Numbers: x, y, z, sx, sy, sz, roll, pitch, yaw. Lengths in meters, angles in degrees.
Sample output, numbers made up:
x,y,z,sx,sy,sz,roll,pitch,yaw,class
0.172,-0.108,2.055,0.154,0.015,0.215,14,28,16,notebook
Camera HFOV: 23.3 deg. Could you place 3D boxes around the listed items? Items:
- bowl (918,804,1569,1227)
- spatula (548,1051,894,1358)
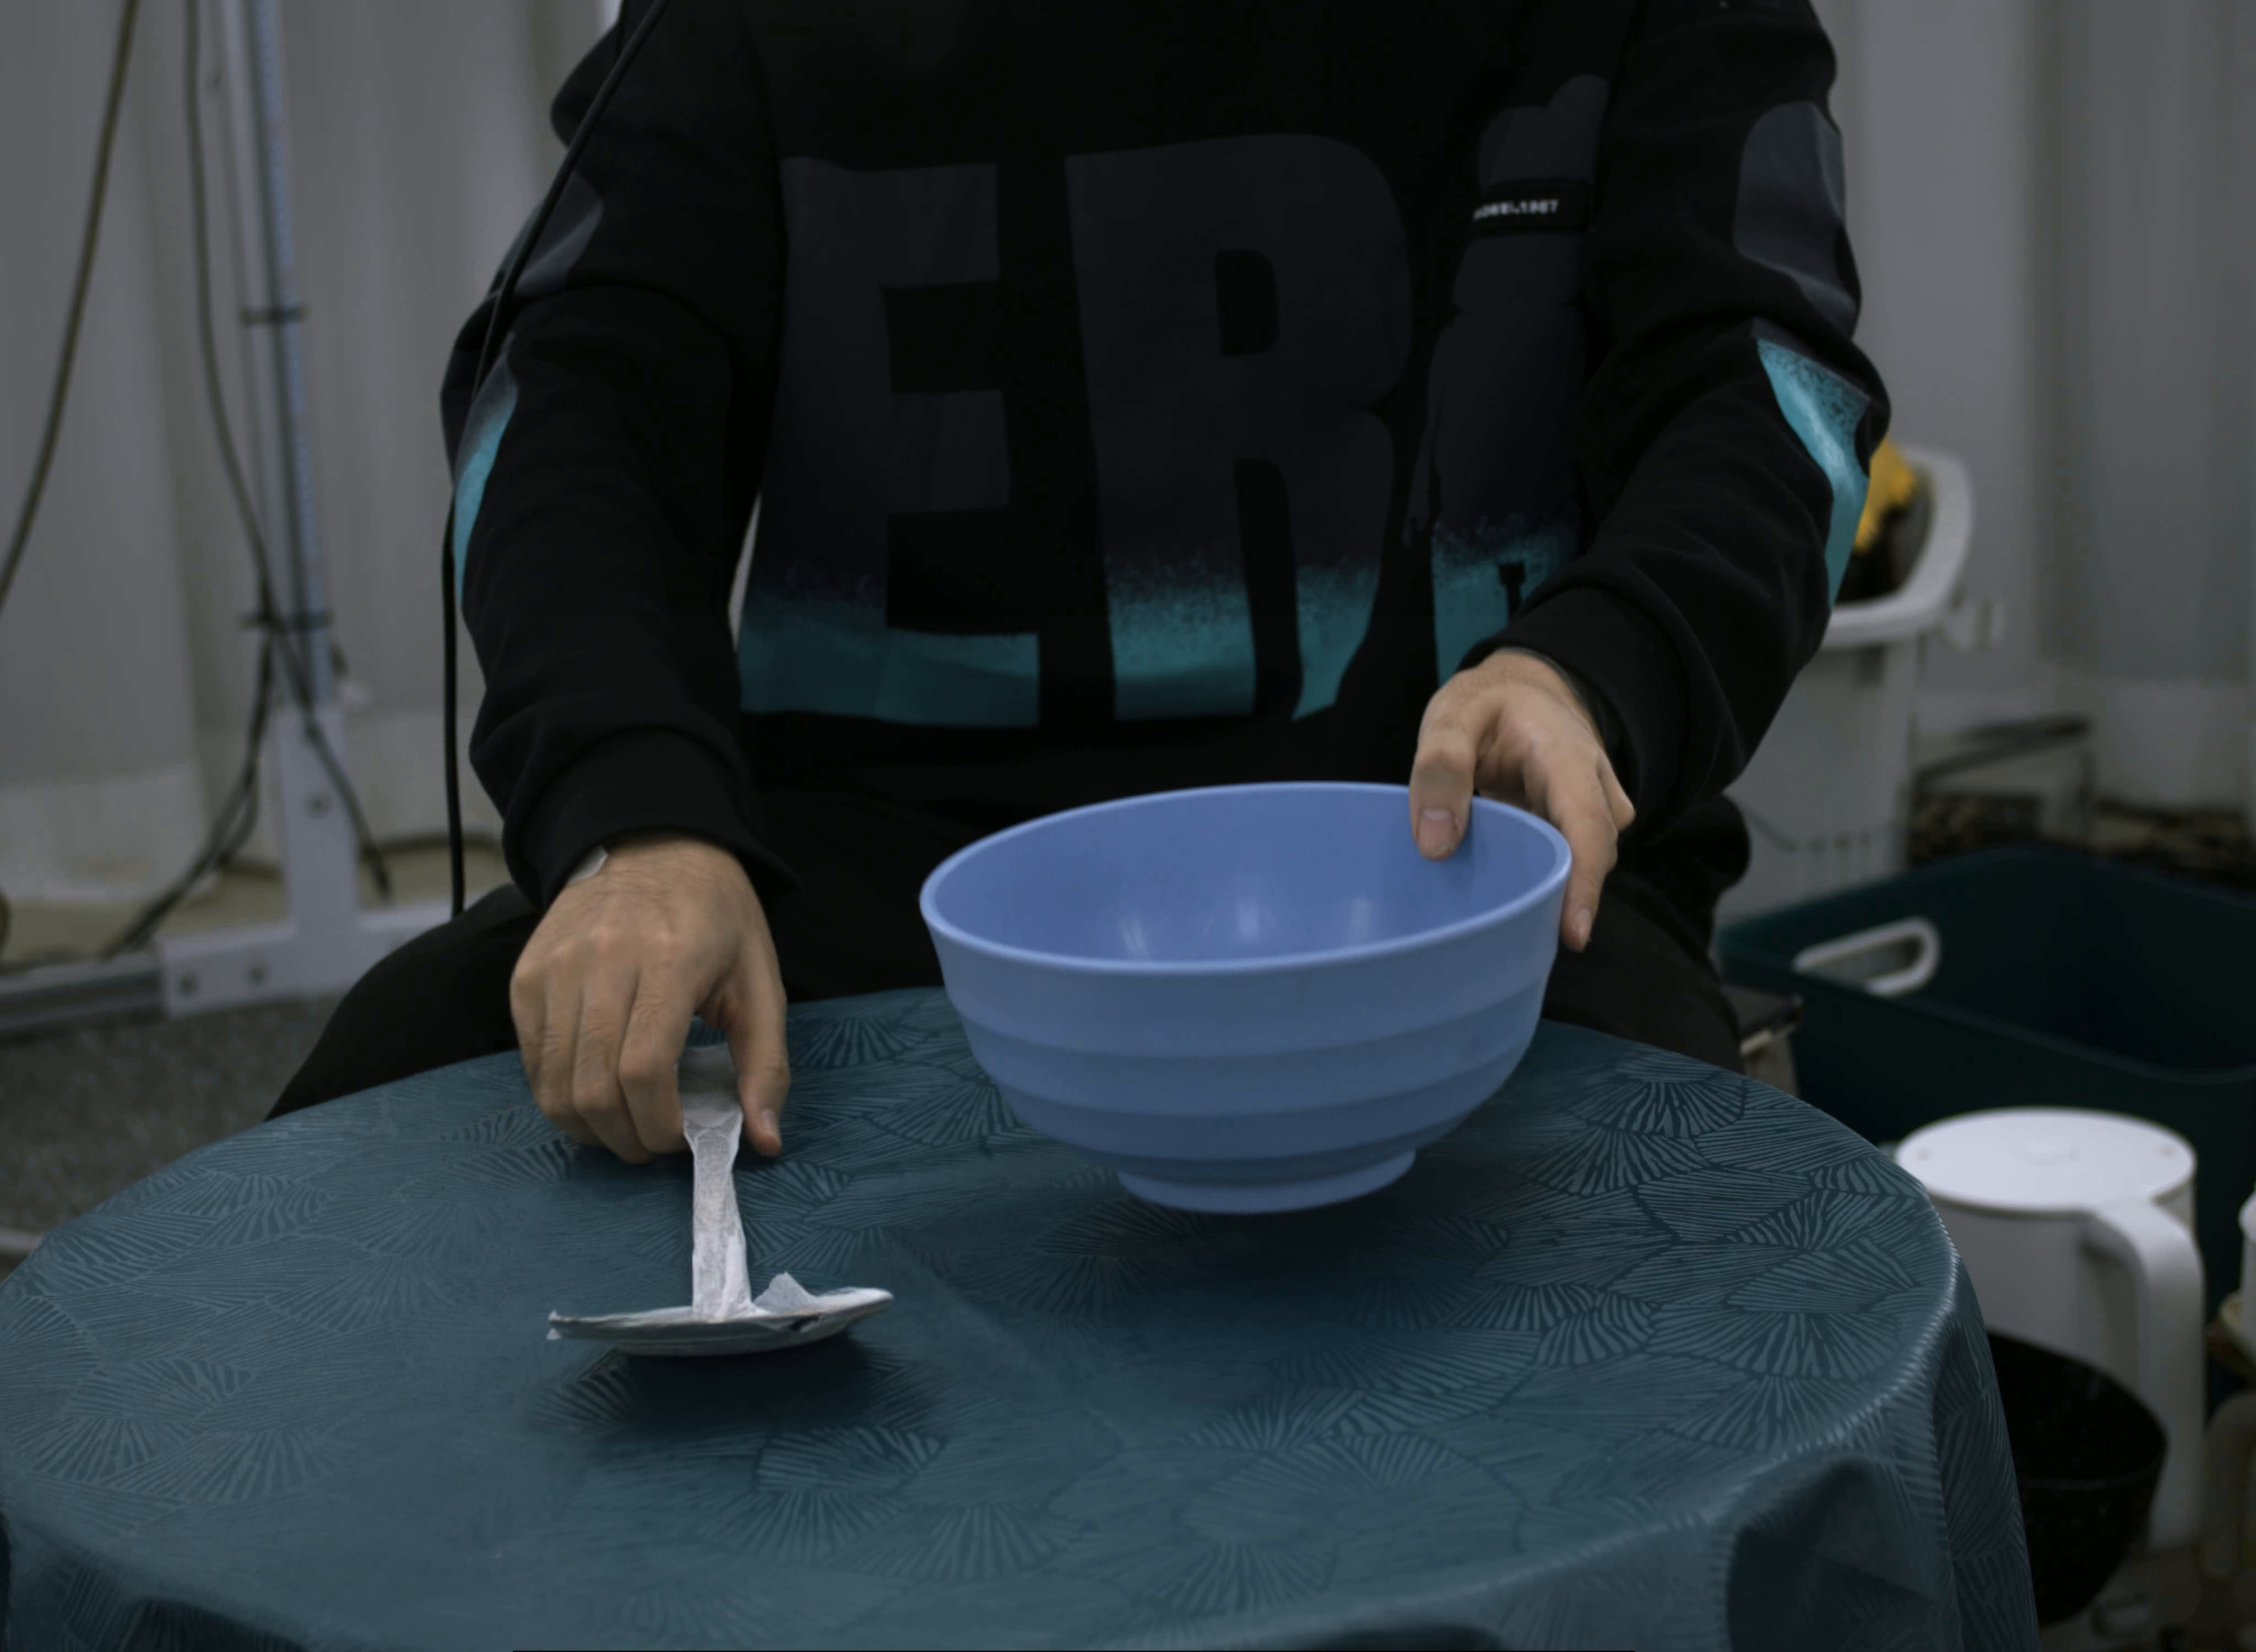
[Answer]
x,y,z,sx,sy,sz,roll,pitch,yaw,class
0.039,0.062,1.649,0.196,0.095,0.197,-6,13,1,bowl
-0.124,0.108,1.690,0.098,0.044,0.367,-6,15,-3,spatula
